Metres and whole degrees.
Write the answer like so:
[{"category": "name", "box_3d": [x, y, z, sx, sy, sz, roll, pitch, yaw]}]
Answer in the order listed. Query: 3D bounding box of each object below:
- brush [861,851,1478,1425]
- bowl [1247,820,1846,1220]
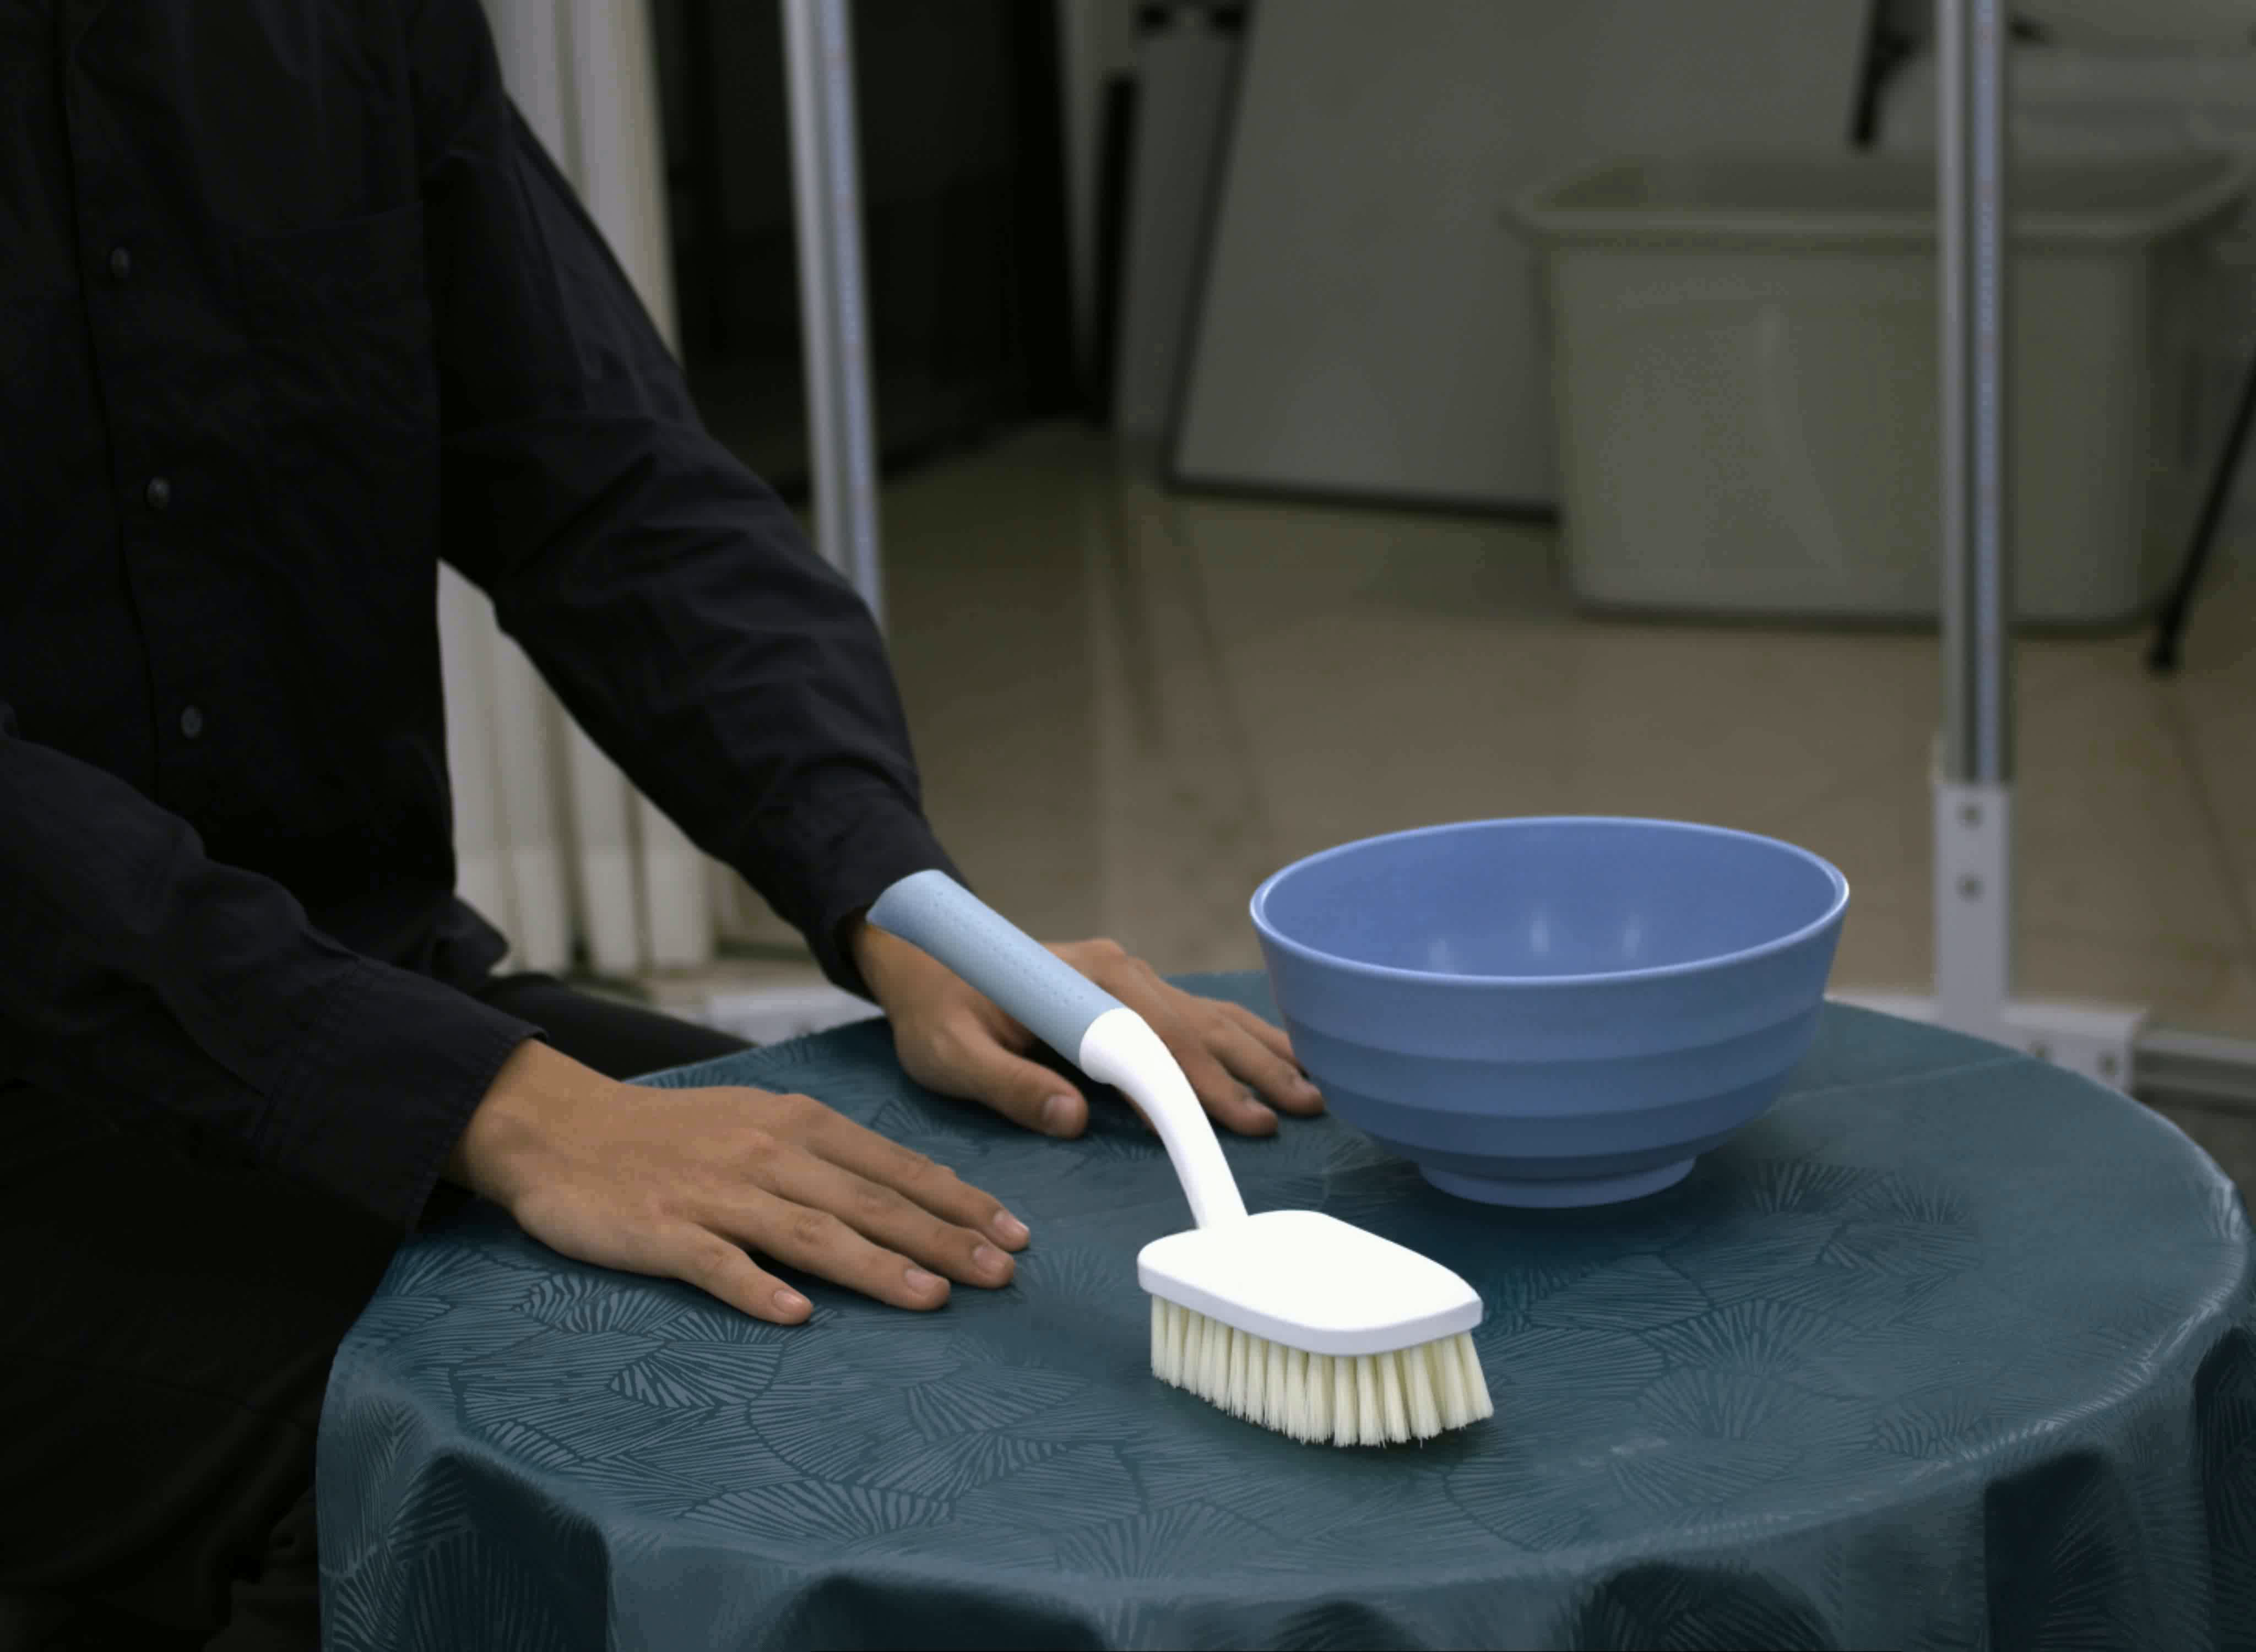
[{"category": "brush", "box_3d": [0.007, 0.107, 1.649, 0.081, 0.085, 0.329, 33, 1, -40]}, {"category": "bowl", "box_3d": [0.139, 0.069, 1.758, 0.194, 0.096, 0.197, -5, 14, 0]}]
